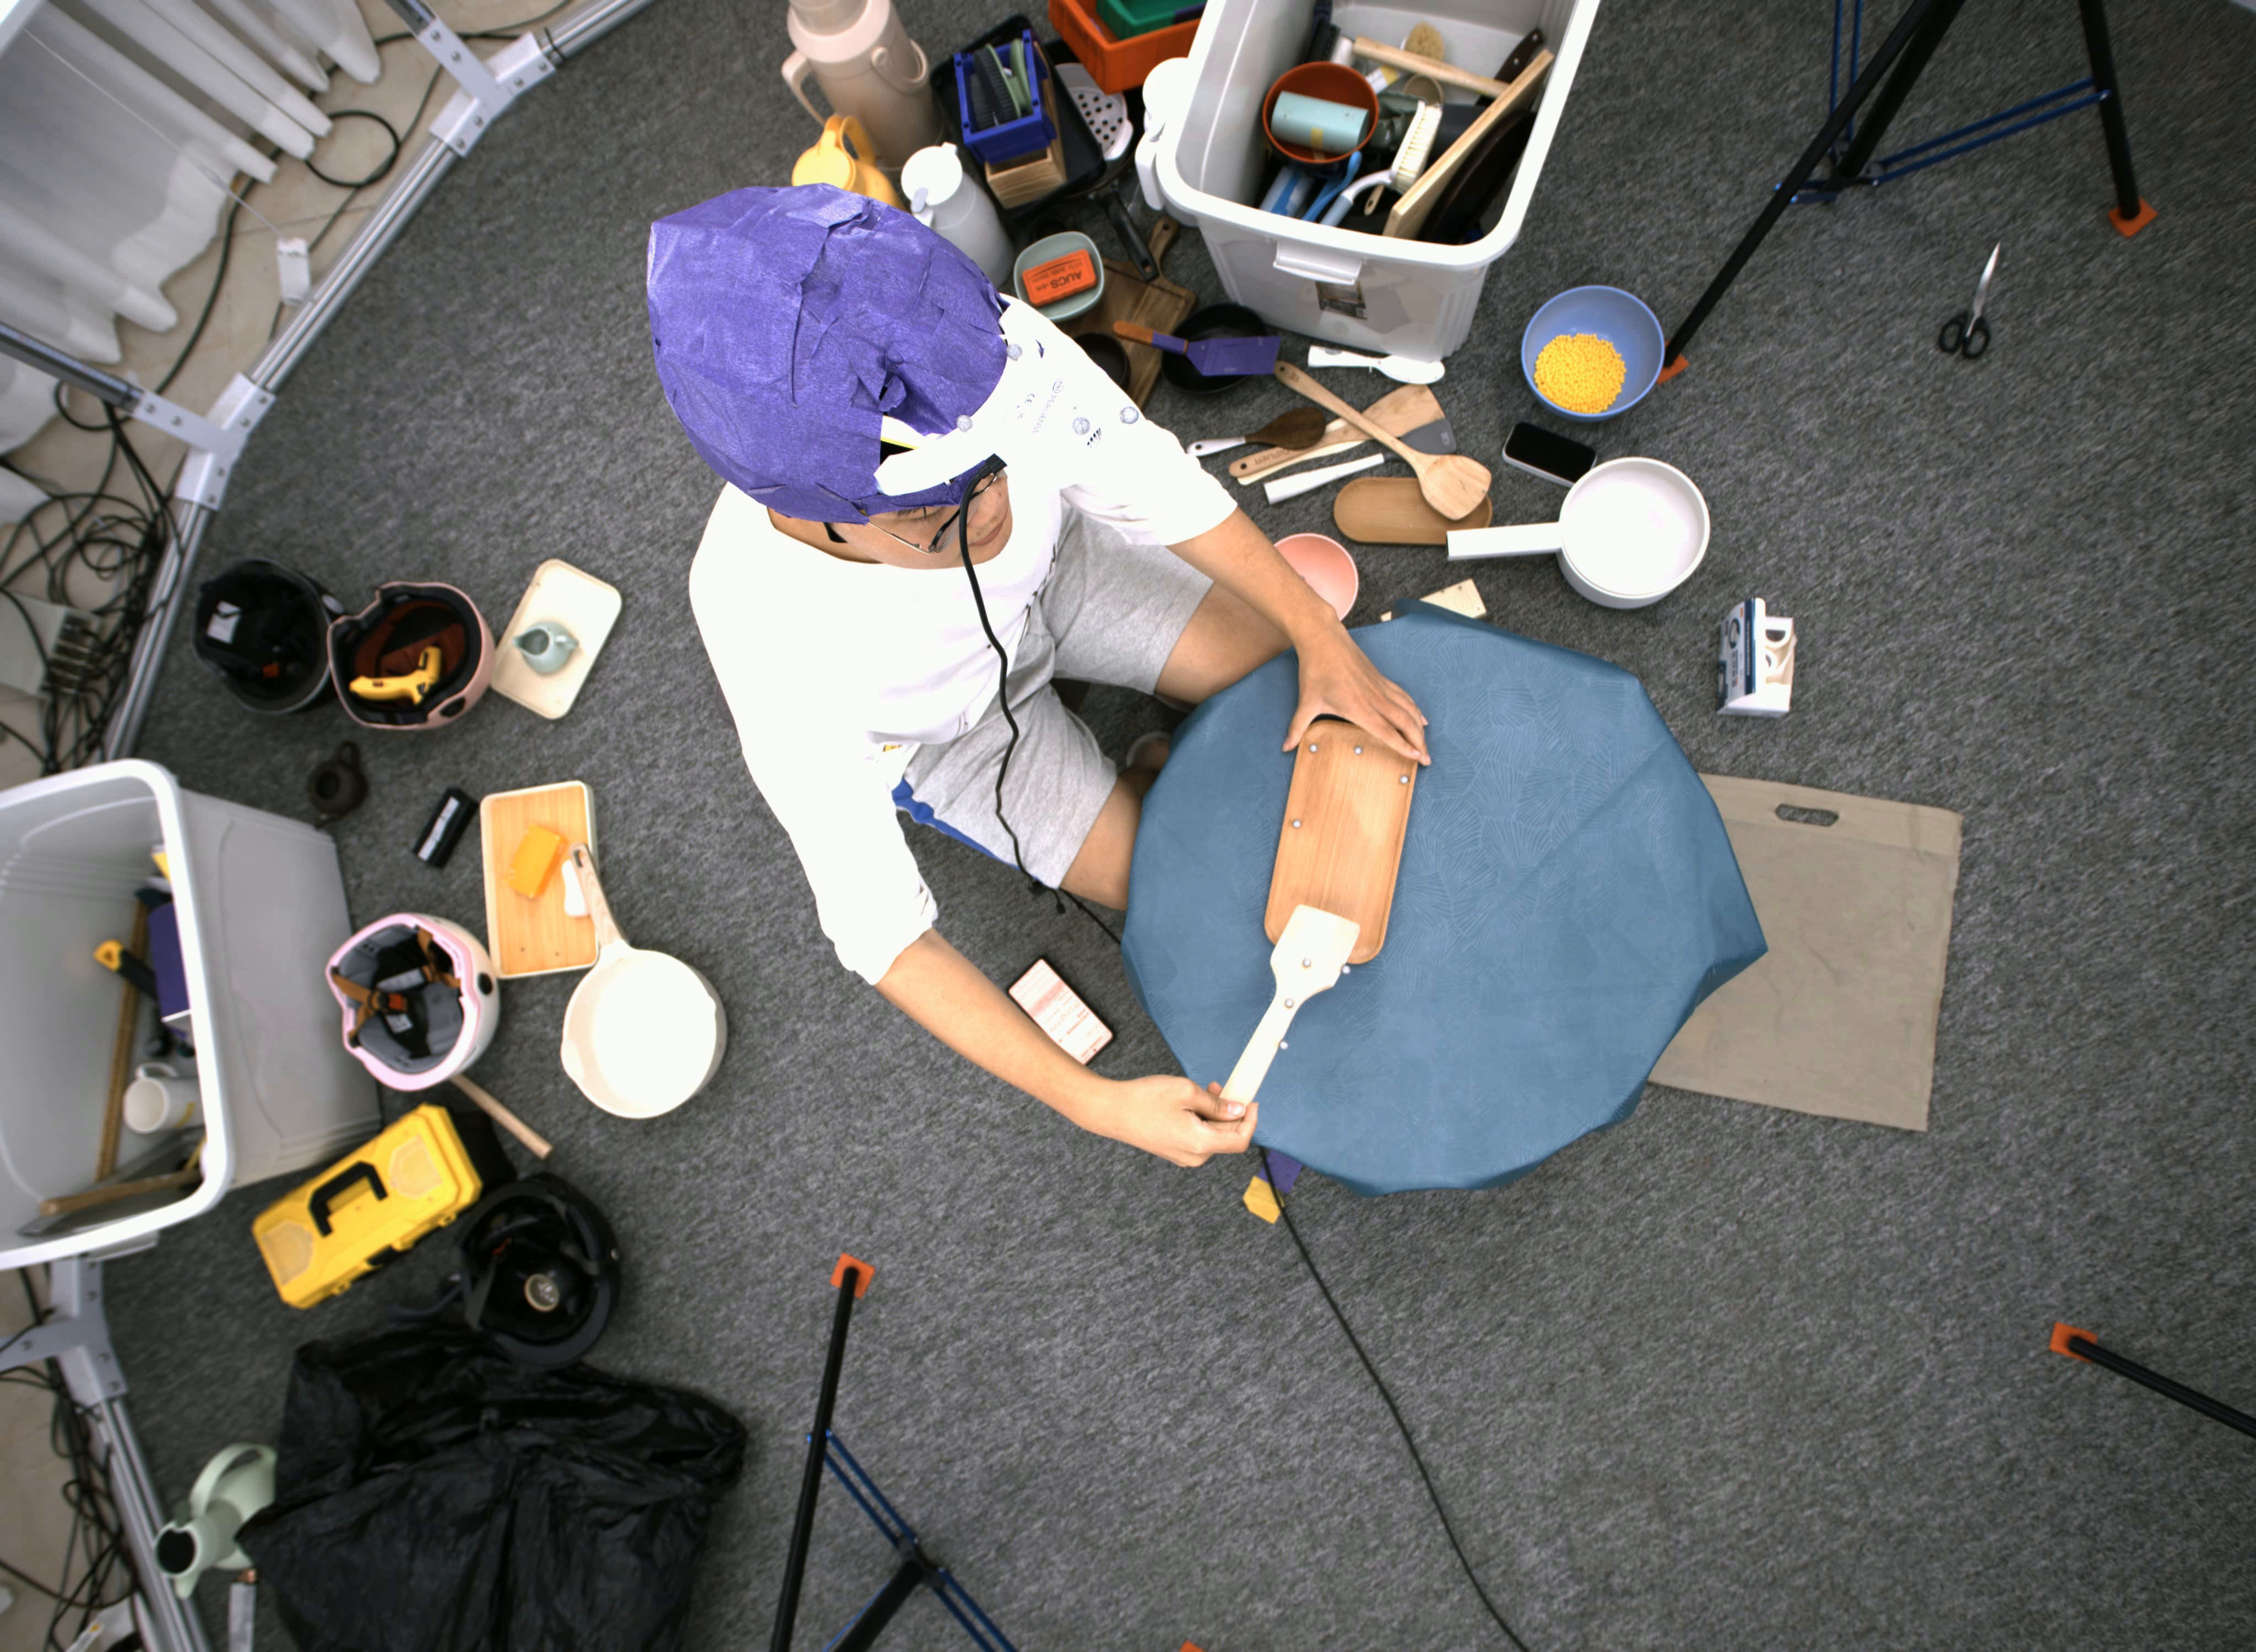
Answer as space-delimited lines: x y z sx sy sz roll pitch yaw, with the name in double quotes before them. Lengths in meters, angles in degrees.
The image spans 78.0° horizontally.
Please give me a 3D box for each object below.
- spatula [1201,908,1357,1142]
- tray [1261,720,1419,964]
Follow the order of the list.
"spatula" 0.140 0.187 1.323 0.072 0.011 0.285 19 49 19
"tray" 0.225 0.015 1.464 0.131 0.023 0.250 13 90 14
